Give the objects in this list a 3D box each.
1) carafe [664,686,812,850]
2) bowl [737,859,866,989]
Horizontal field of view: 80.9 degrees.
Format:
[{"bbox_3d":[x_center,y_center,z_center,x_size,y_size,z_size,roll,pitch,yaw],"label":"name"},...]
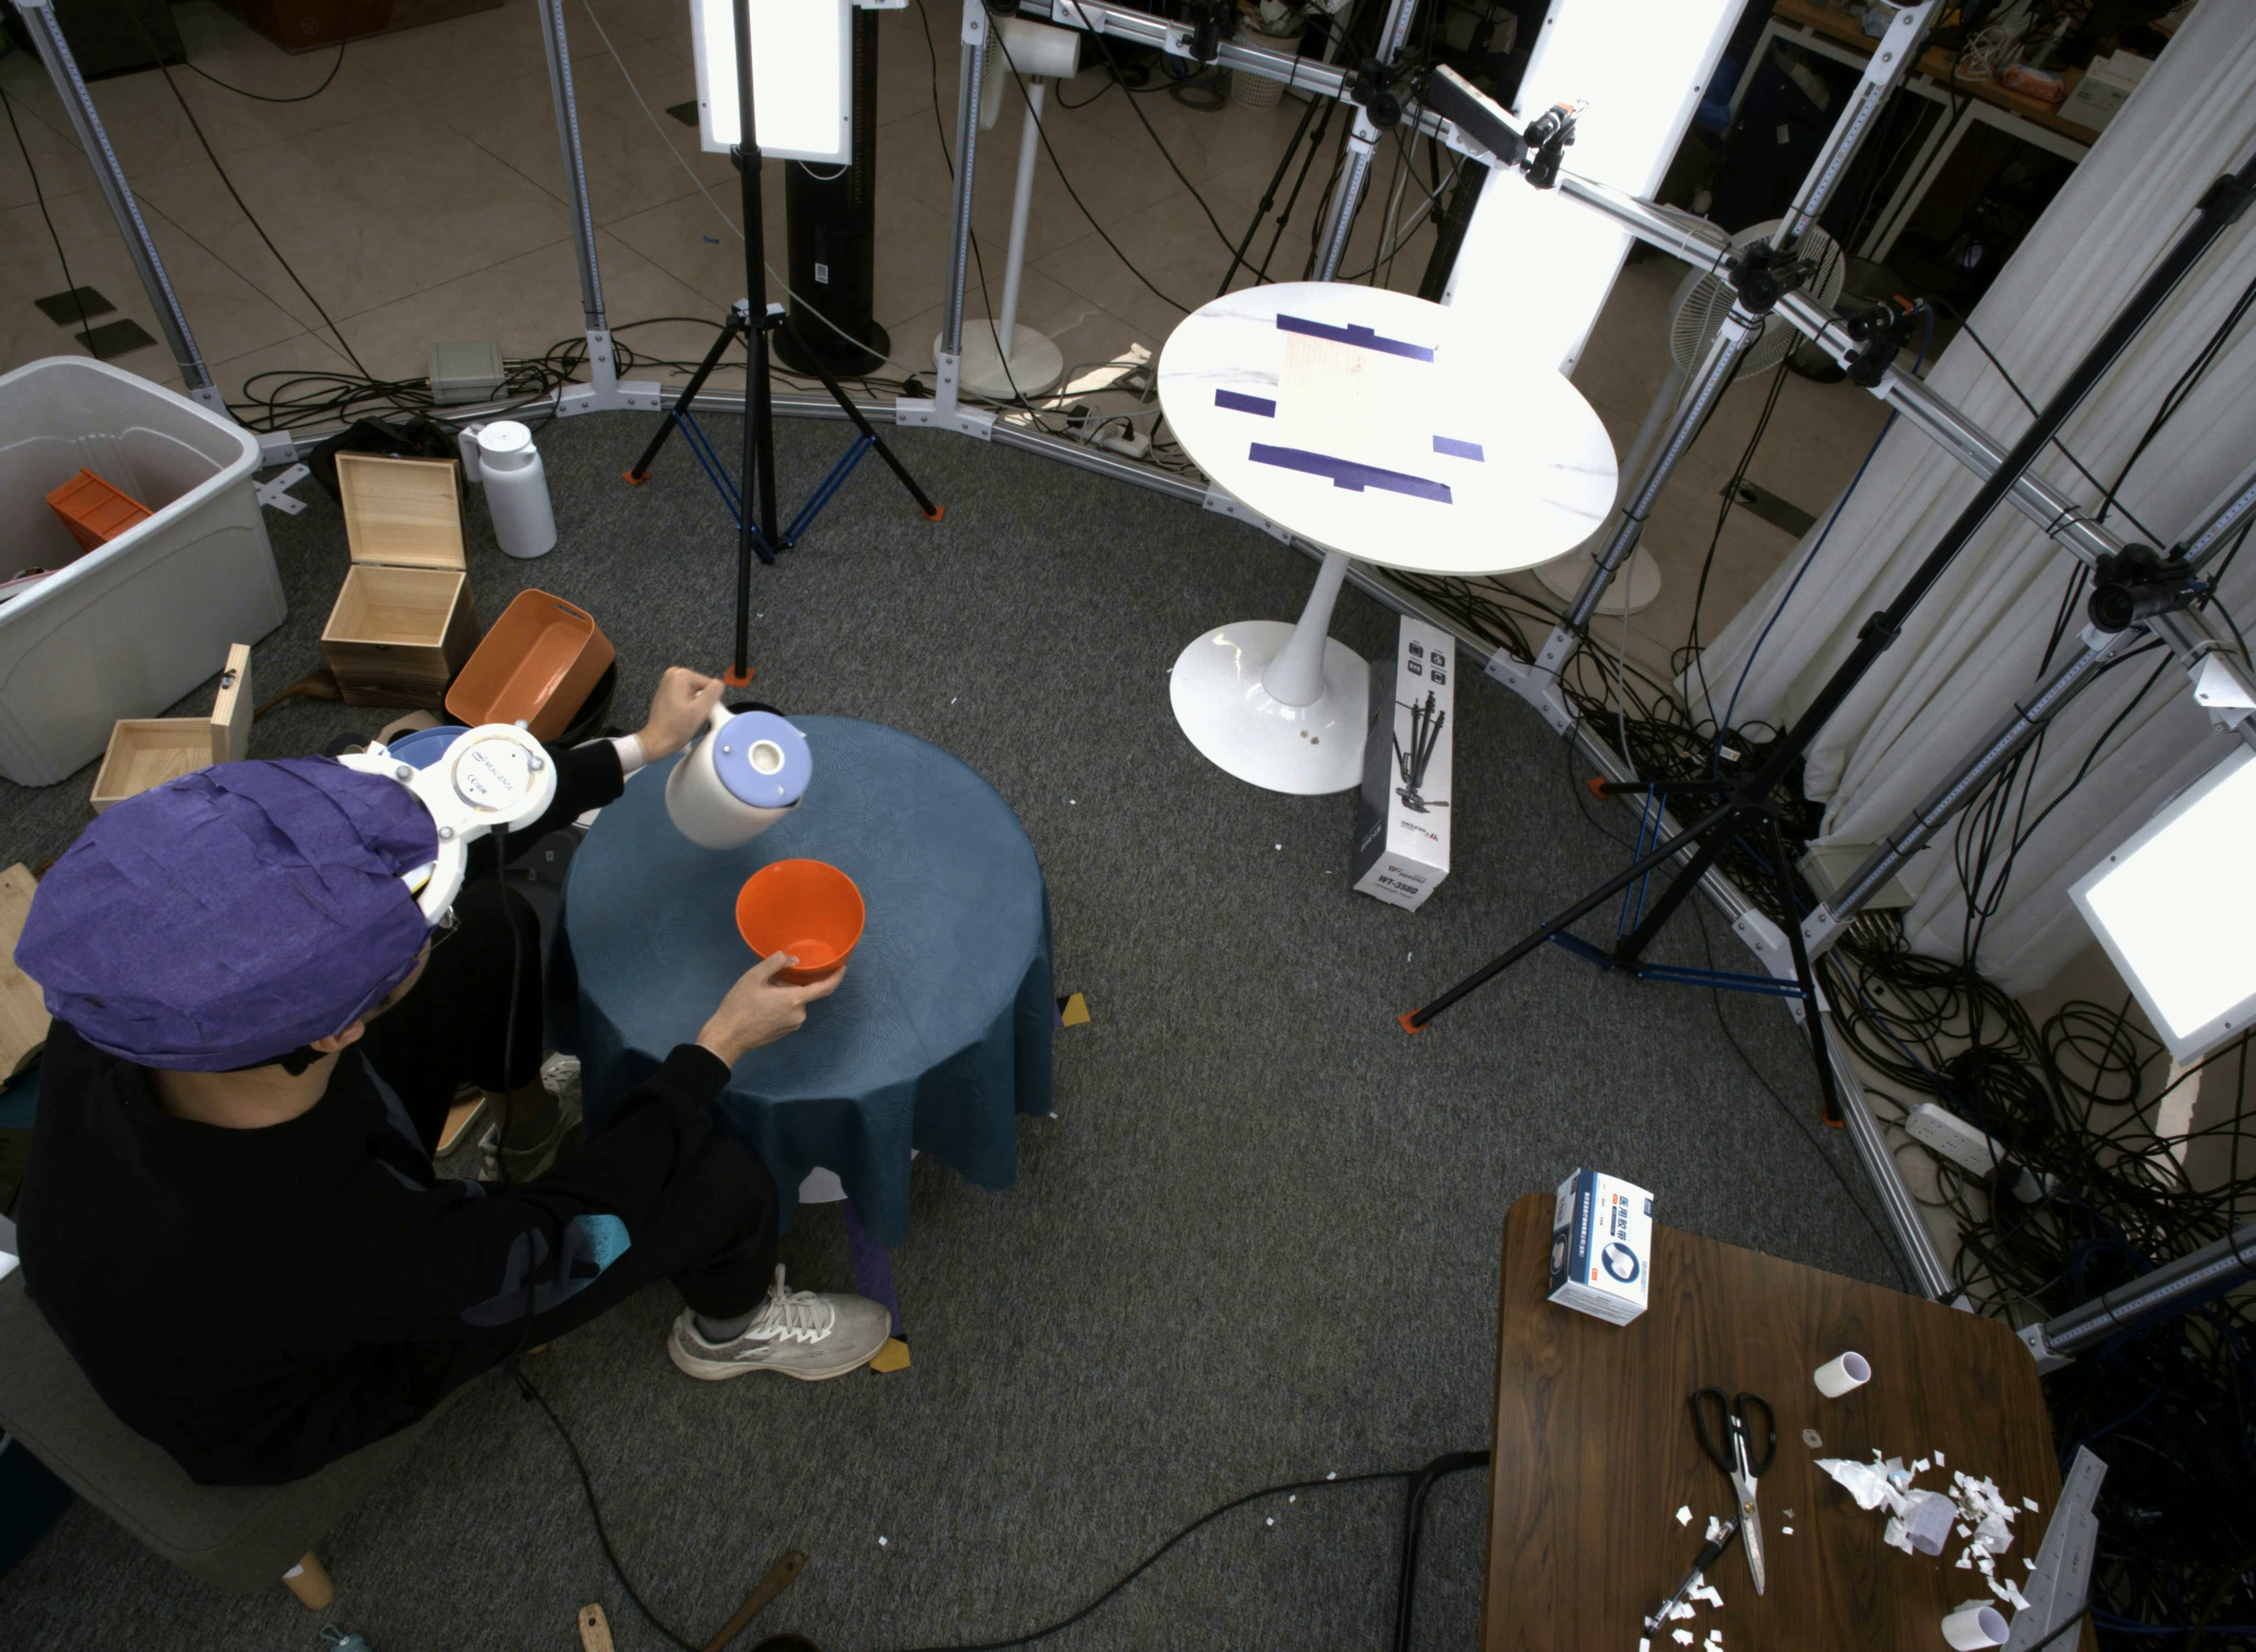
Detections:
[{"bbox_3d":[-0.479,-0.077,1.532,0.194,0.180,0.132,52,50,-10],"label":"carafe"},{"bbox_3d":[-0.386,0.126,1.544,0.147,0.107,0.145,7,46,-6],"label":"bowl"}]
